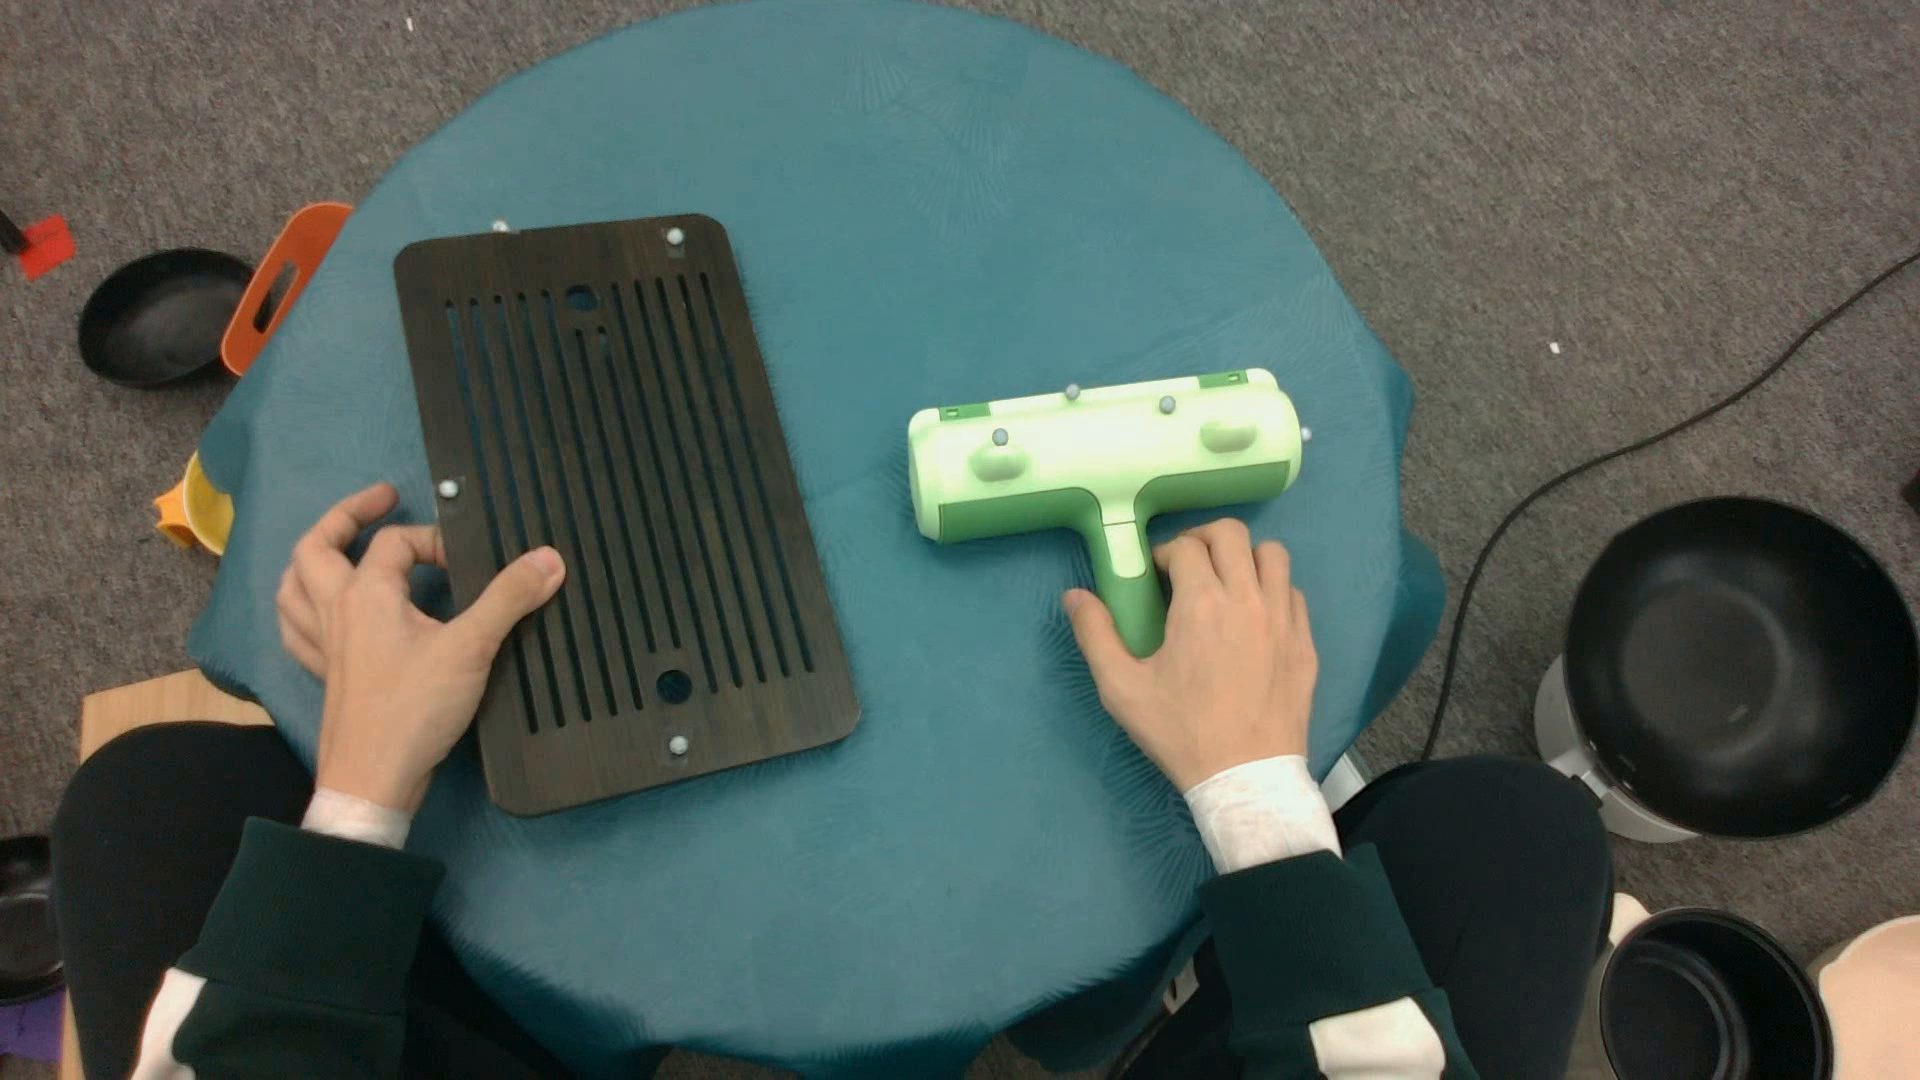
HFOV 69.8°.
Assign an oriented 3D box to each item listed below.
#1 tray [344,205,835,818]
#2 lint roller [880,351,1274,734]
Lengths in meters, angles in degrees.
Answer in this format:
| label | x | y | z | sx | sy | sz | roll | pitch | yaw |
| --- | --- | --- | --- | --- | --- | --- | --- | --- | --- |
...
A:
| label | x | y | z | sx | sy | sz | roll | pitch | yaw |
| --- | --- | --- | --- | --- | --- | --- | --- | --- | --- |
| tray | -0.184 | -0.028 | 0.675 | 0.170 | 0.018 | 0.306 | -12 | 70 | -22 |
| lint roller | 0.071 | -0.002 | 0.671 | 0.199 | 0.082 | 0.184 | -8 | 67 | -8 |
